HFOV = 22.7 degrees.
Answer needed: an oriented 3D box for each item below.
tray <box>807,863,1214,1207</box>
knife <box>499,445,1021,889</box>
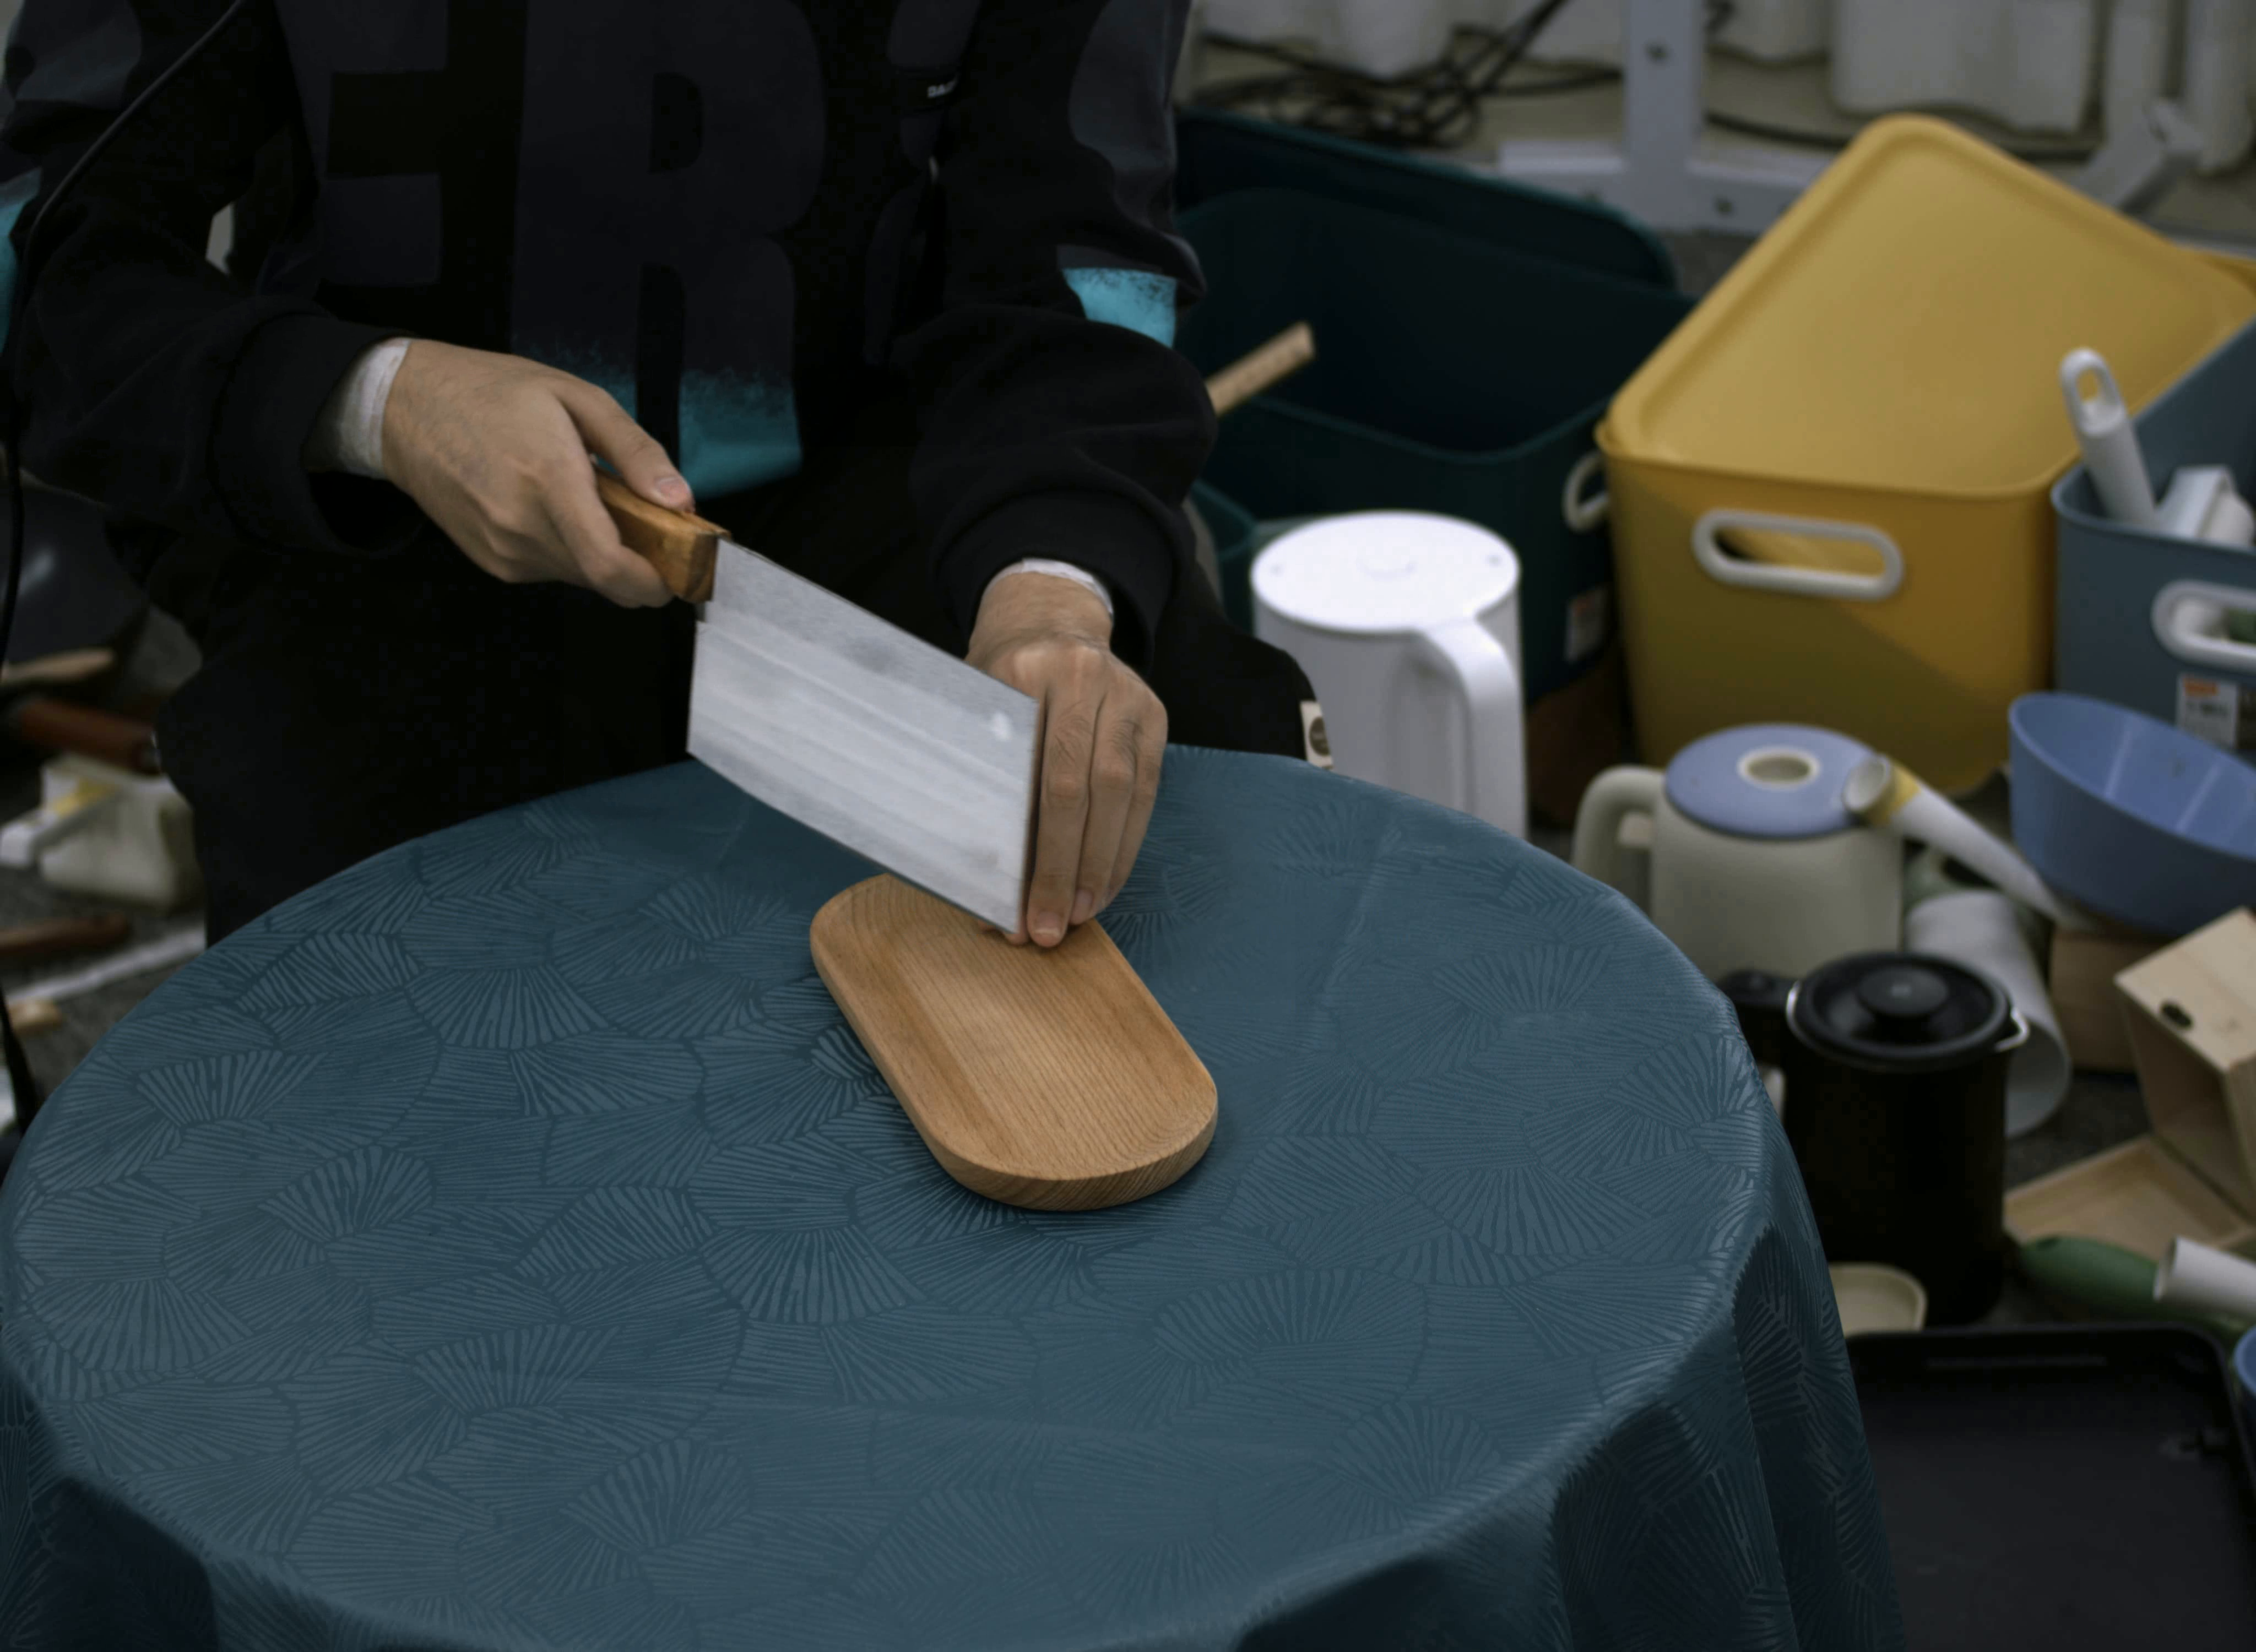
[{"bbox_3d":[-0.042,0.070,1.948,0.102,0.020,0.233,-10,27,-16],"label":"tray"},{"bbox_3d":[-0.136,-0.056,2.023,0.021,0.092,0.306,-12,28,-39],"label":"knife"}]
